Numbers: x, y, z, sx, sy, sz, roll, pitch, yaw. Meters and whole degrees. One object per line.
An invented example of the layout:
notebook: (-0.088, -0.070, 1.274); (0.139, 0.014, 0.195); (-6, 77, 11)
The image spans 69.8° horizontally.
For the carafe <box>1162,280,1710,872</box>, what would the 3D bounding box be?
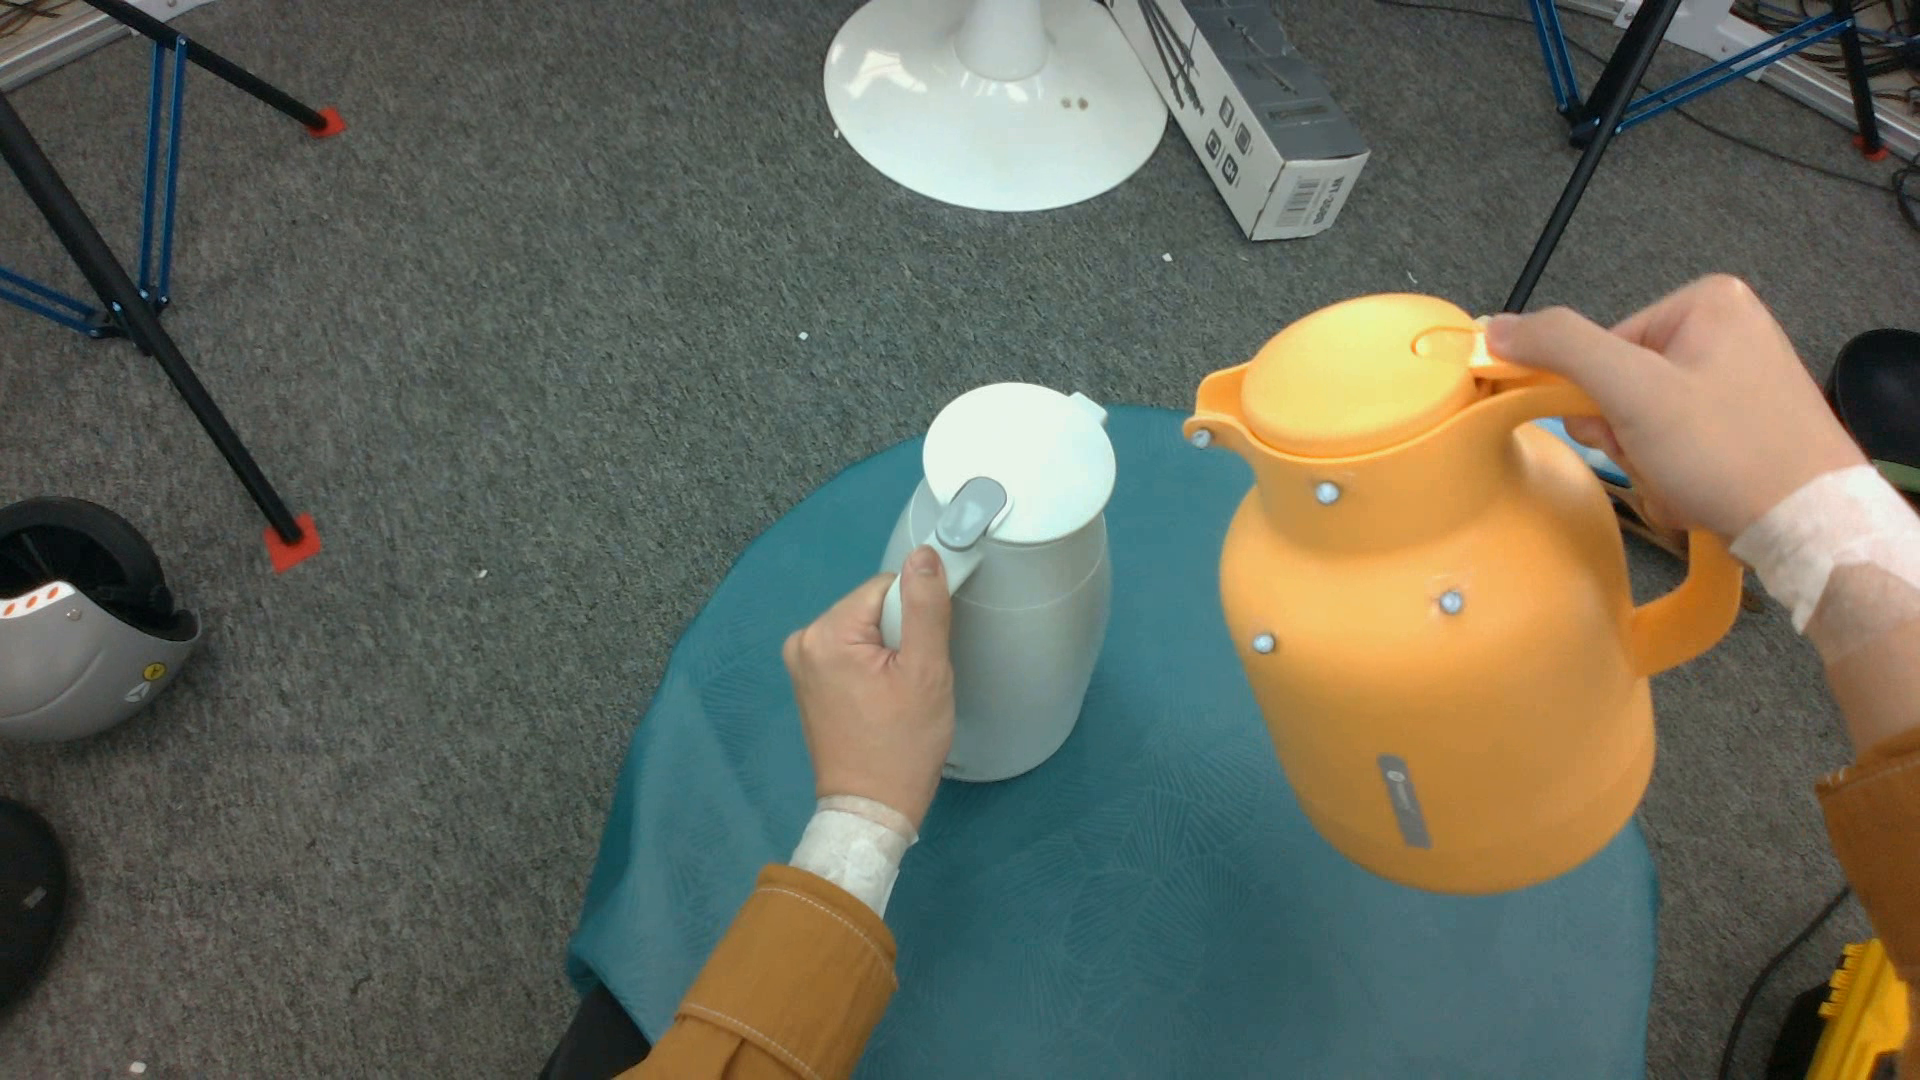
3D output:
carafe: (0.205, 0.015, 0.582); (0.202, 0.259, 0.164); (-2, 45, 32)

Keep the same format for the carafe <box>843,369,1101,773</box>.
carafe: (0.001, 0.030, 0.732); (0.132, 0.247, 0.168); (35, 62, 15)
